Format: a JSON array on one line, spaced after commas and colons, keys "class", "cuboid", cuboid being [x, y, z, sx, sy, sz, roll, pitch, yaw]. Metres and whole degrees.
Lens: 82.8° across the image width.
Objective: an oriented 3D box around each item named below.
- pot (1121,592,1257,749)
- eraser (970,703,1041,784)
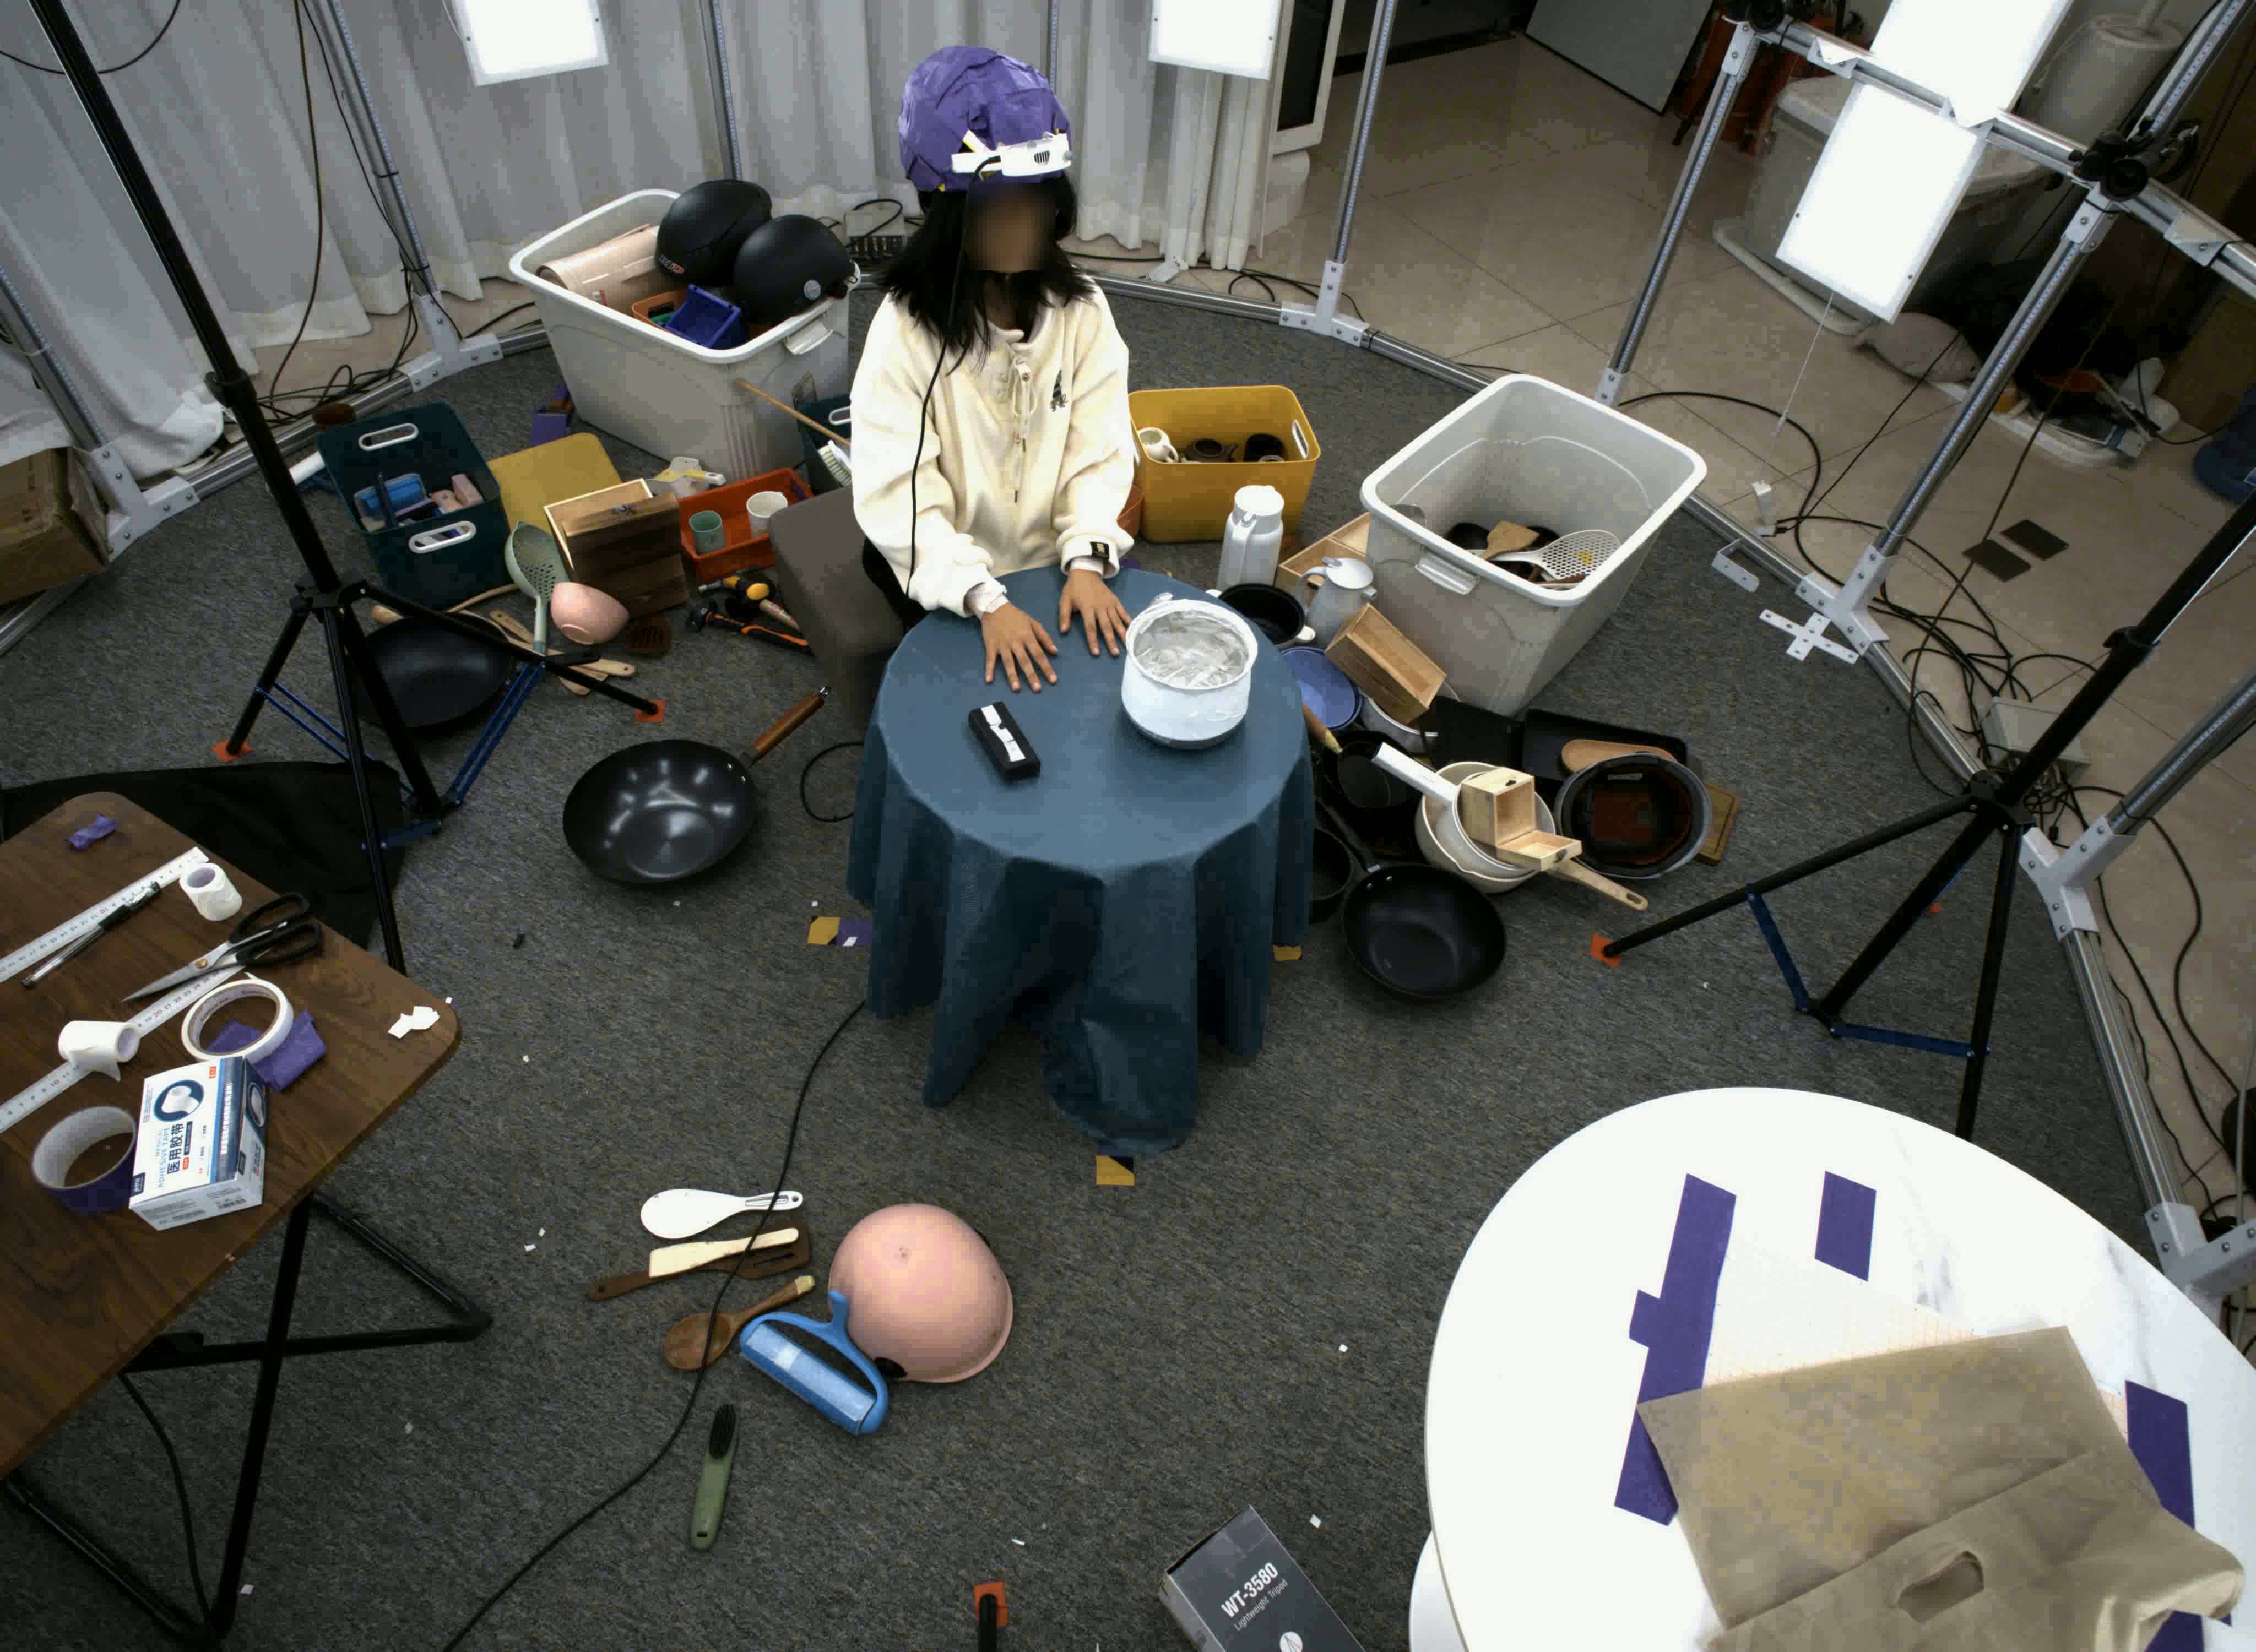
[{"class": "pot", "cuboid": [0.071, -0.225, 1.780, 0.179, 0.133, 0.239, -13, 52, -15]}, {"class": "eraser", "cuboid": [-0.166, -0.113, 1.739, 0.053, 0.030, 0.128, -18, 52, -19]}]
